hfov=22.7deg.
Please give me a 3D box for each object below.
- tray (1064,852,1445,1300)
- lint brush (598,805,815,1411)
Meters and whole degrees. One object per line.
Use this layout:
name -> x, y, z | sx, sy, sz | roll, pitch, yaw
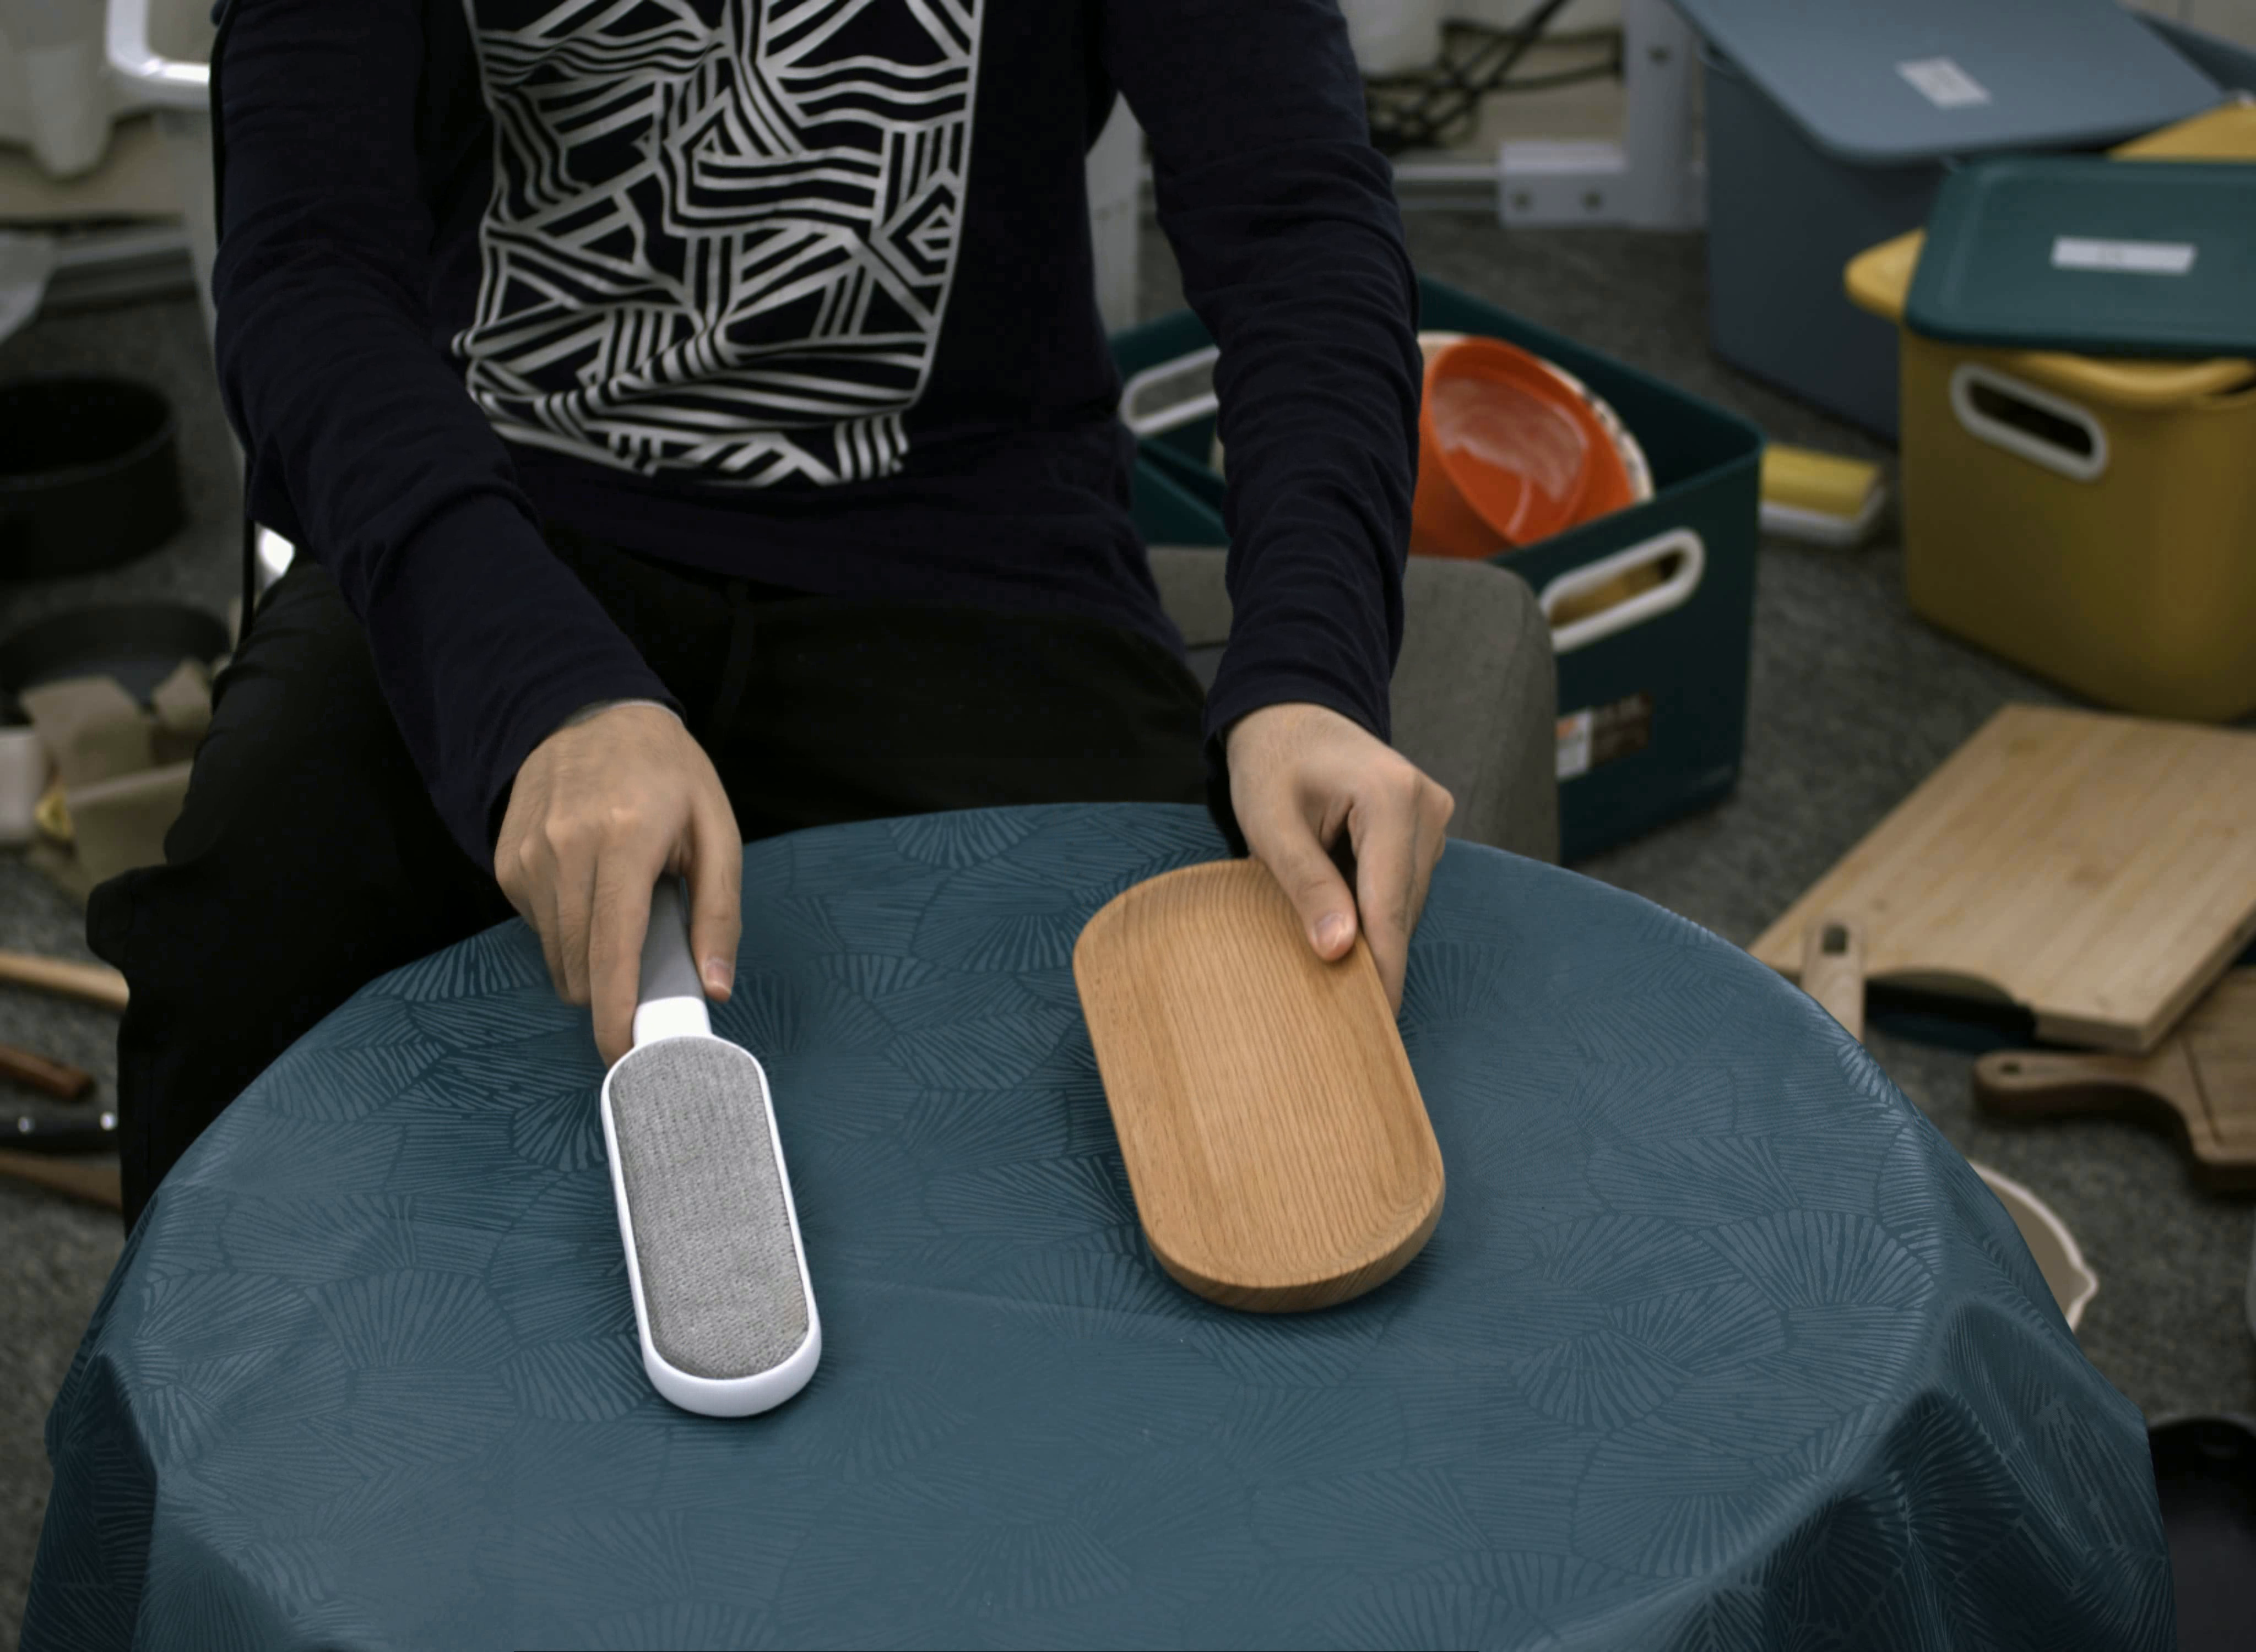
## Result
tray -> 0.041, 0.081, 1.880 | 0.101, 0.020, 0.234 | -11, 34, -5
lint brush -> -0.147, 0.087, 1.867 | 0.060, 0.020, 0.314 | -12, 37, -3
